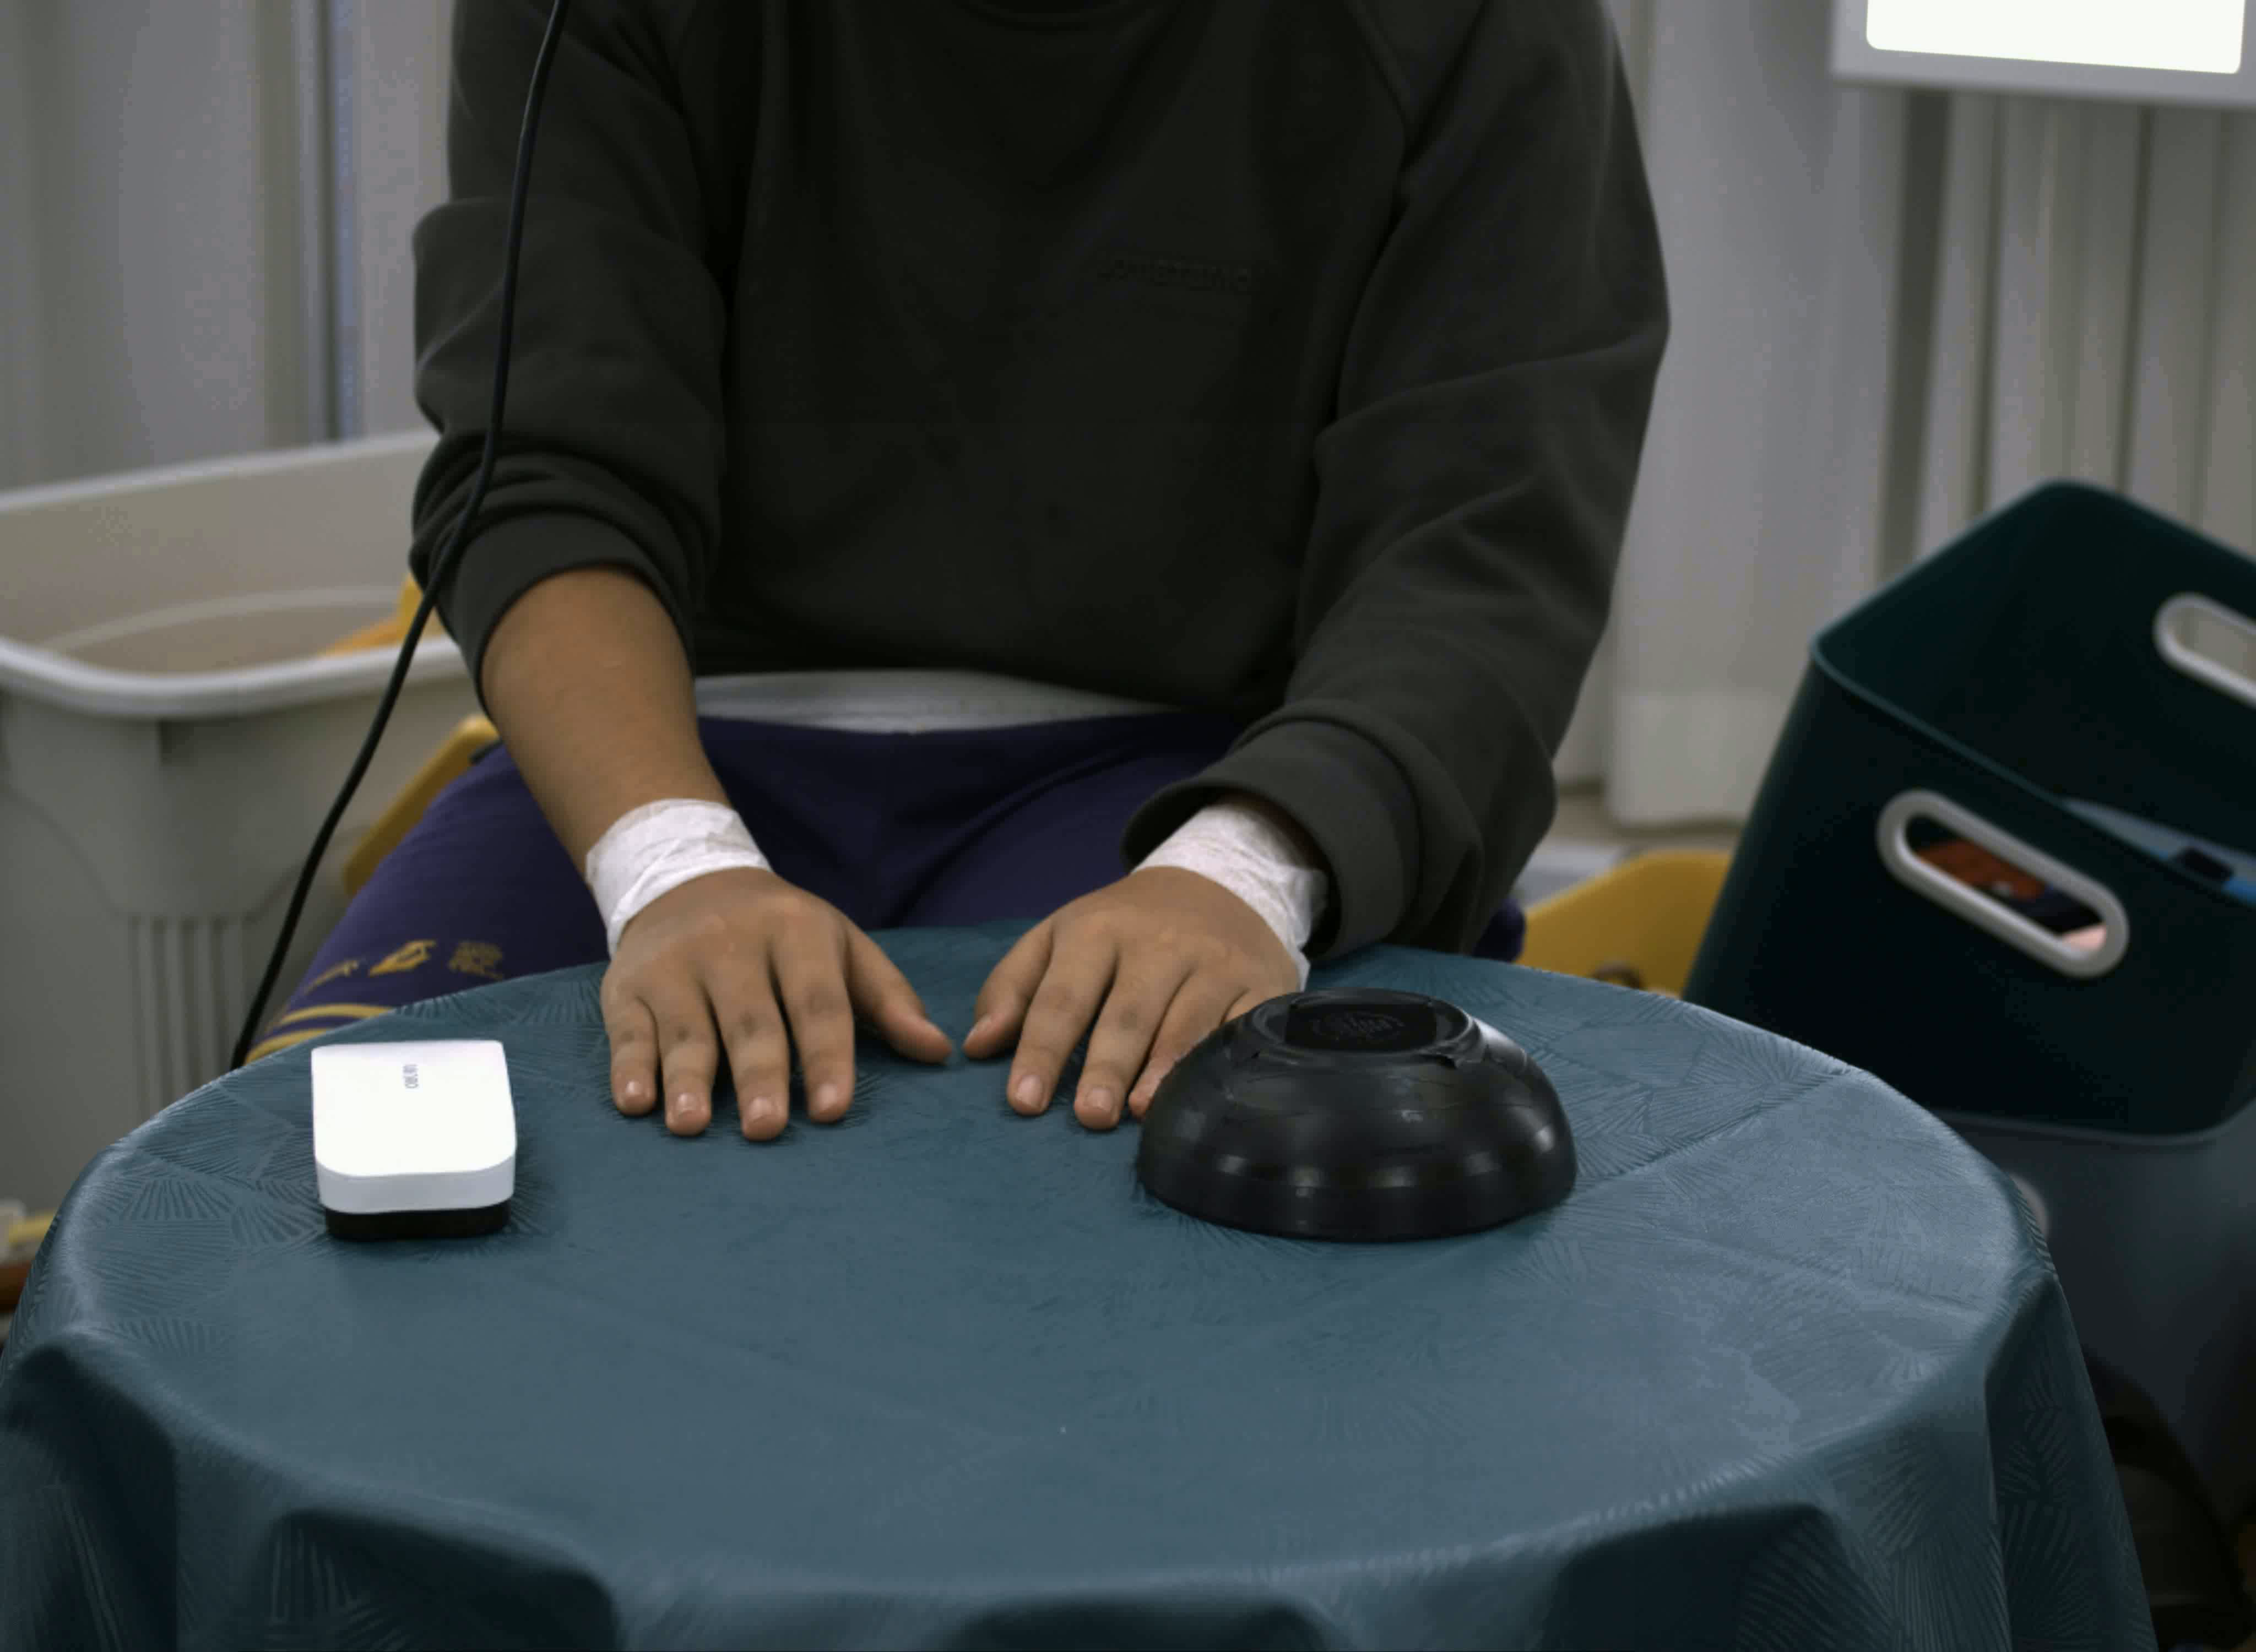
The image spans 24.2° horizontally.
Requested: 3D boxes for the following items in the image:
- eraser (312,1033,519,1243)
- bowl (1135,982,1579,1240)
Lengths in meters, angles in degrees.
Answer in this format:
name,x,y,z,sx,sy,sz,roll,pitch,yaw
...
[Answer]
name,x,y,z,sx,sy,sz,roll,pitch,yaw
eraser,-0.220,0.092,1.628,0.063,0.035,0.130,0,17,-7
bowl,0.071,0.082,1.638,0.139,0.050,0.139,-1,17,1
